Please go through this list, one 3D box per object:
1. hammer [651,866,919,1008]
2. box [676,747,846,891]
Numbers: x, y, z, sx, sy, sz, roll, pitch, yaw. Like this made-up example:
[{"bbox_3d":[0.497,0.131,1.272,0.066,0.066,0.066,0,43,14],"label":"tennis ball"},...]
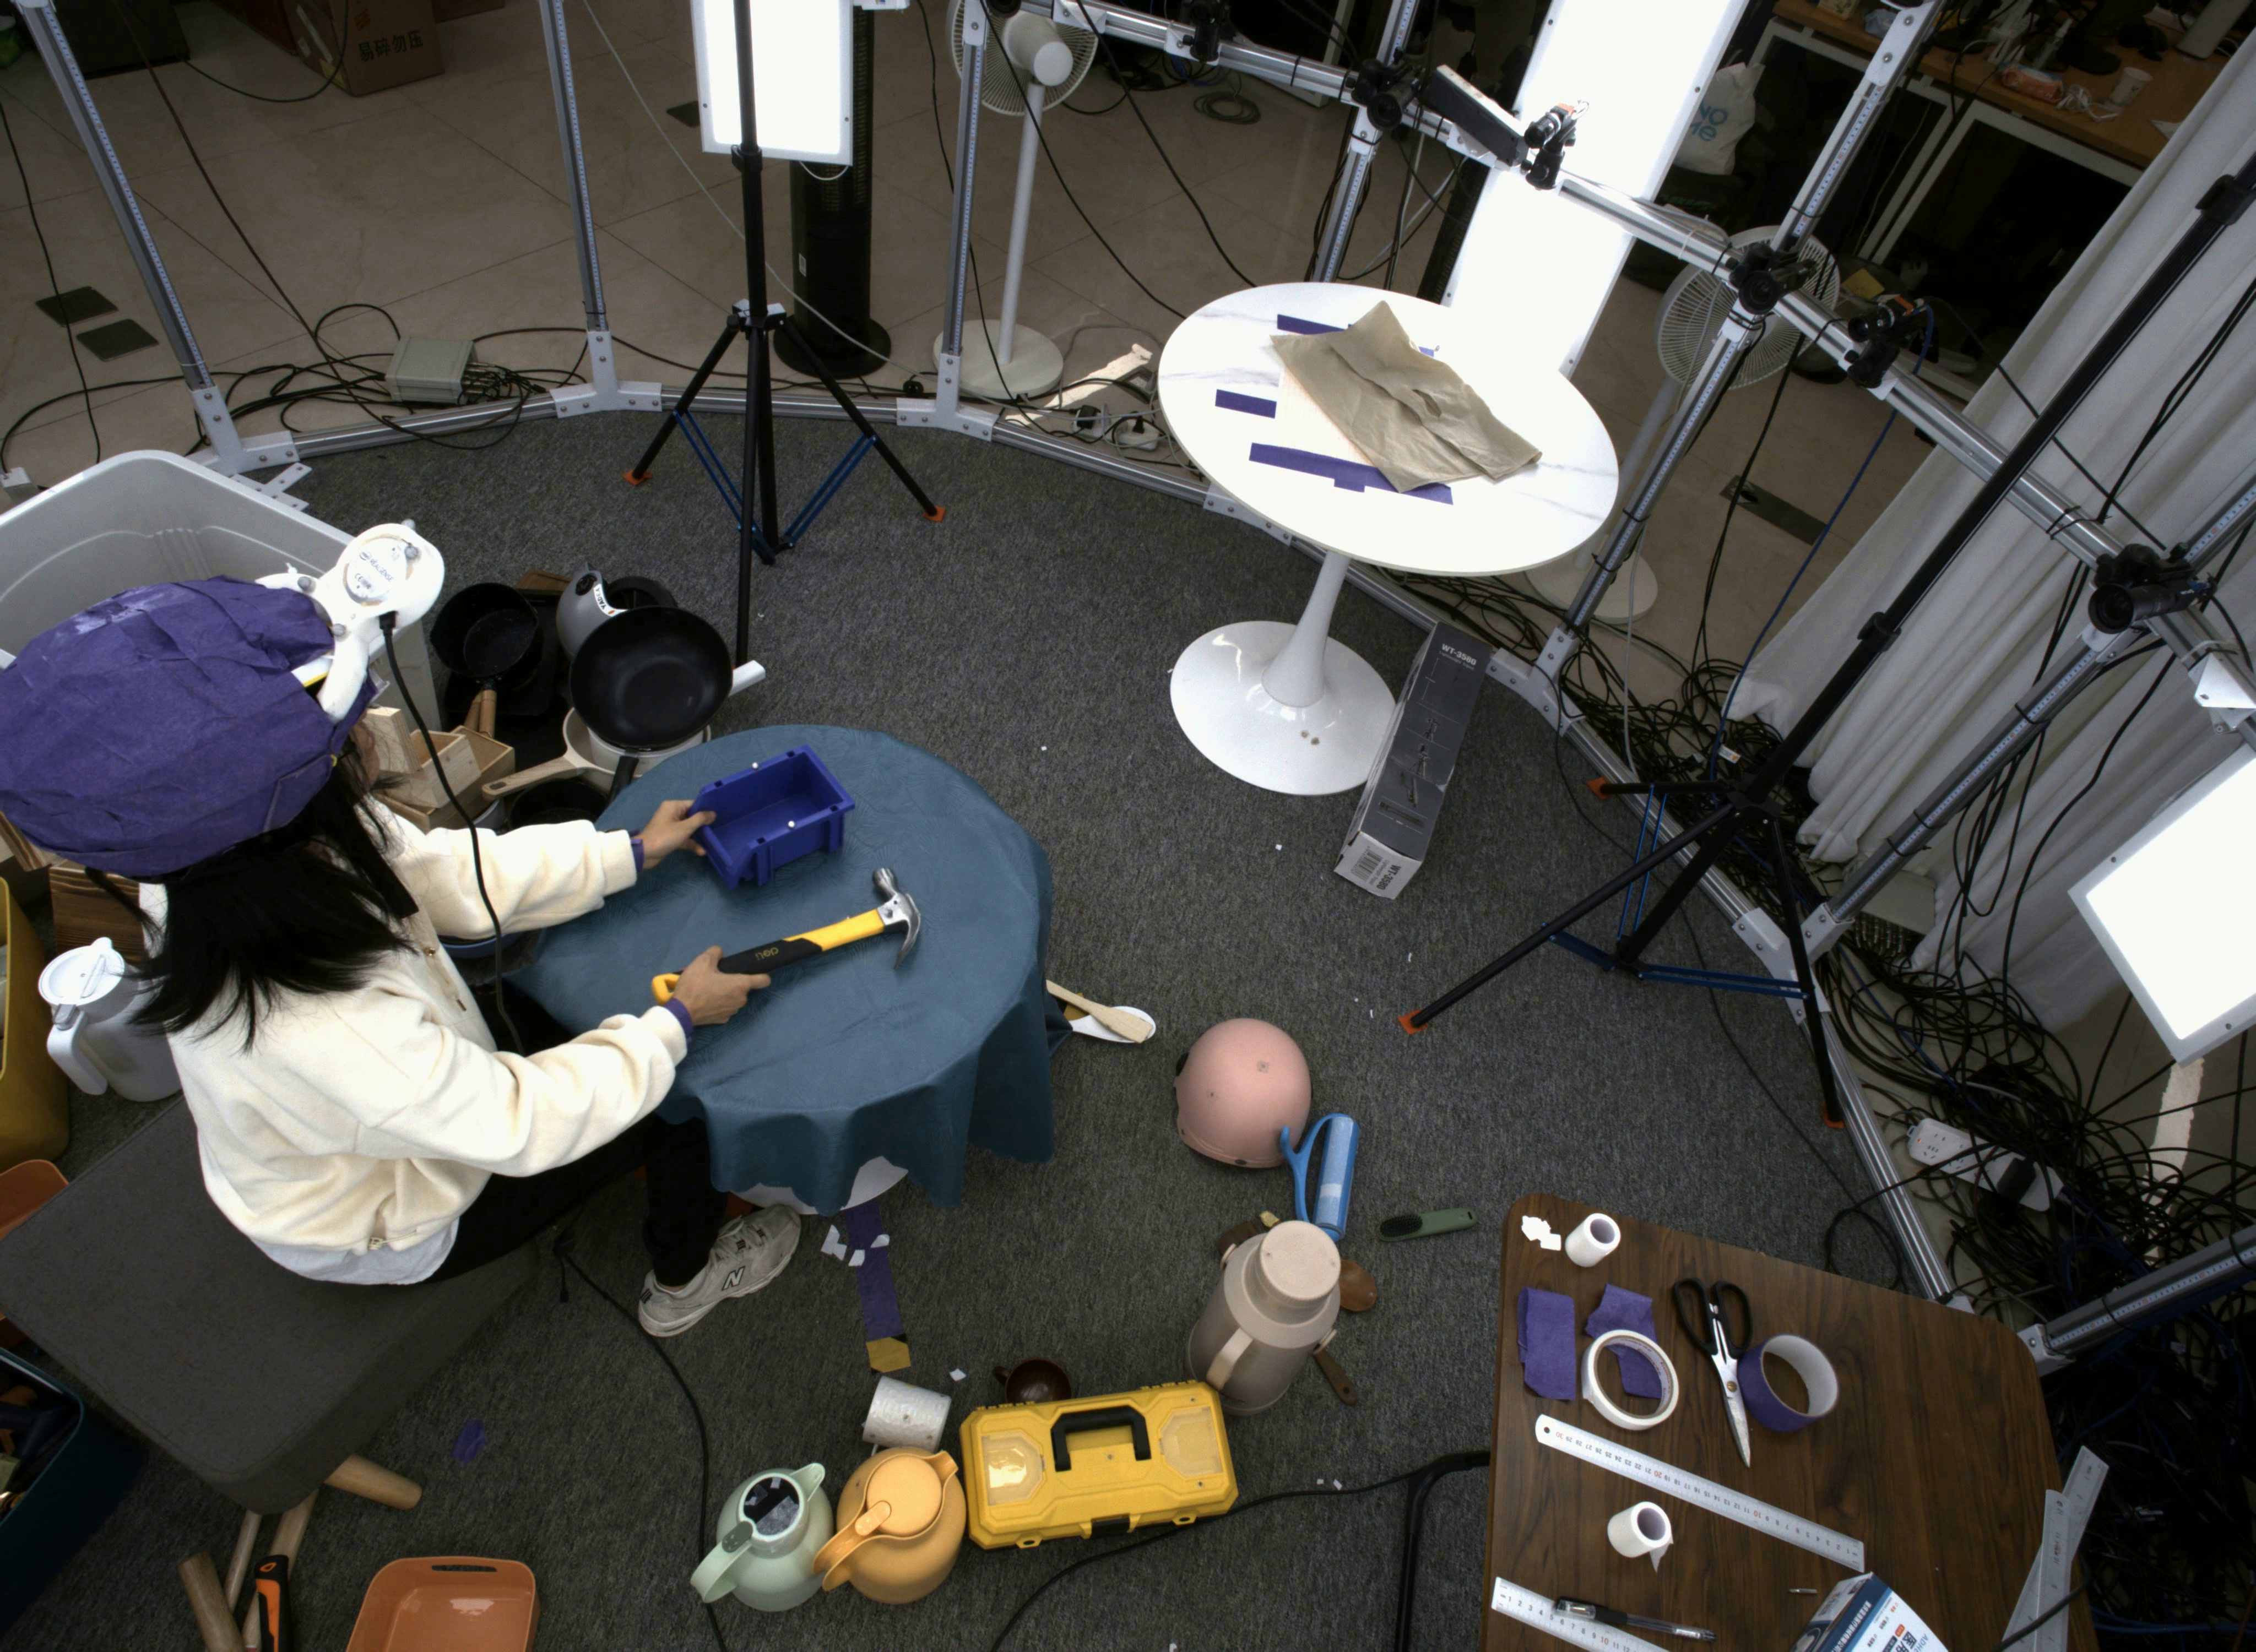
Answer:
[{"bbox_3d":[-0.410,0.147,1.571,0.341,0.033,0.128,-17,61,-32],"label":"hammer"},{"bbox_3d":[-0.469,-0.006,1.653,0.180,0.083,0.121,-26,62,-34],"label":"box"}]
